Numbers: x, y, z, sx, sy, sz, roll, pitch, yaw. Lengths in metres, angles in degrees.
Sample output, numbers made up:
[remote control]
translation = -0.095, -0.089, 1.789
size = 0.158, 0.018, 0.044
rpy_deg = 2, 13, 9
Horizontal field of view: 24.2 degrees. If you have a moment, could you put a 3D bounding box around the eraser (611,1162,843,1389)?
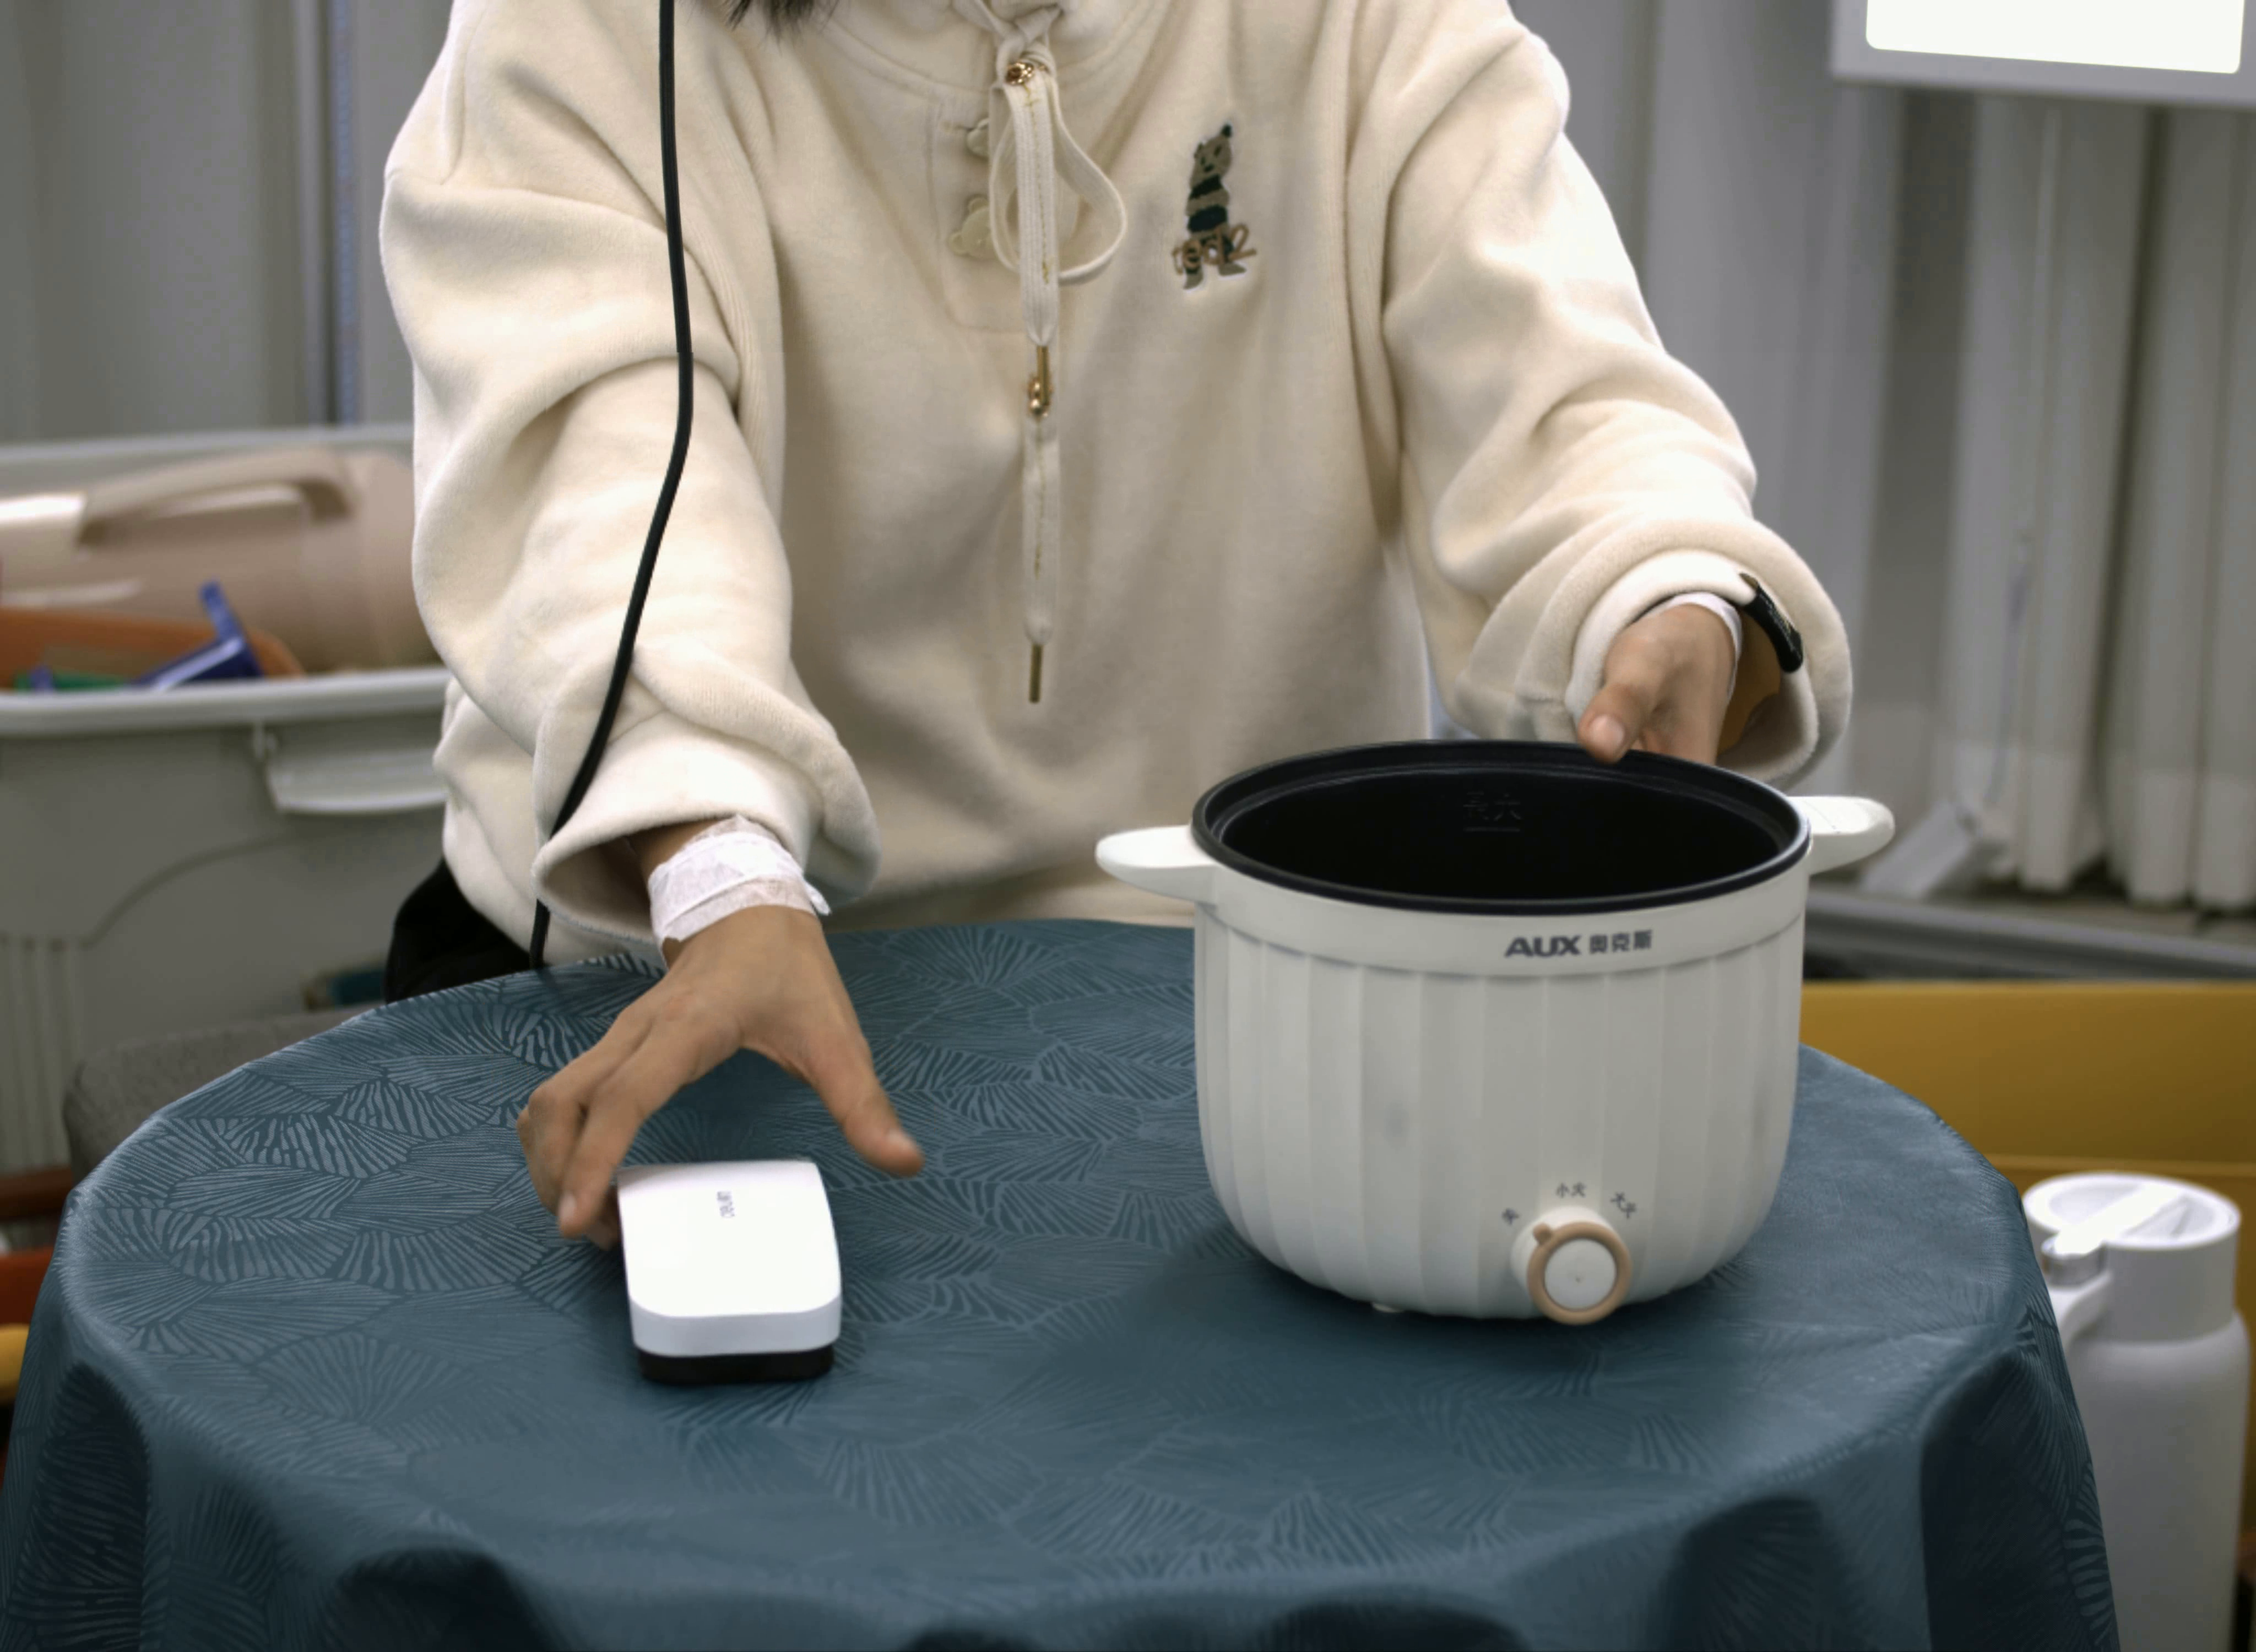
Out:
[eraser]
translation = -0.115, 0.125, 1.516
size = 0.063, 0.035, 0.130
rpy_deg = 0, 16, -8

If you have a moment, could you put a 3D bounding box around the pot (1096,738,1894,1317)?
[pot]
translation = 0.111, 0.061, 1.546
size = 0.240, 0.144, 0.189
rpy_deg = -4, 13, -11
